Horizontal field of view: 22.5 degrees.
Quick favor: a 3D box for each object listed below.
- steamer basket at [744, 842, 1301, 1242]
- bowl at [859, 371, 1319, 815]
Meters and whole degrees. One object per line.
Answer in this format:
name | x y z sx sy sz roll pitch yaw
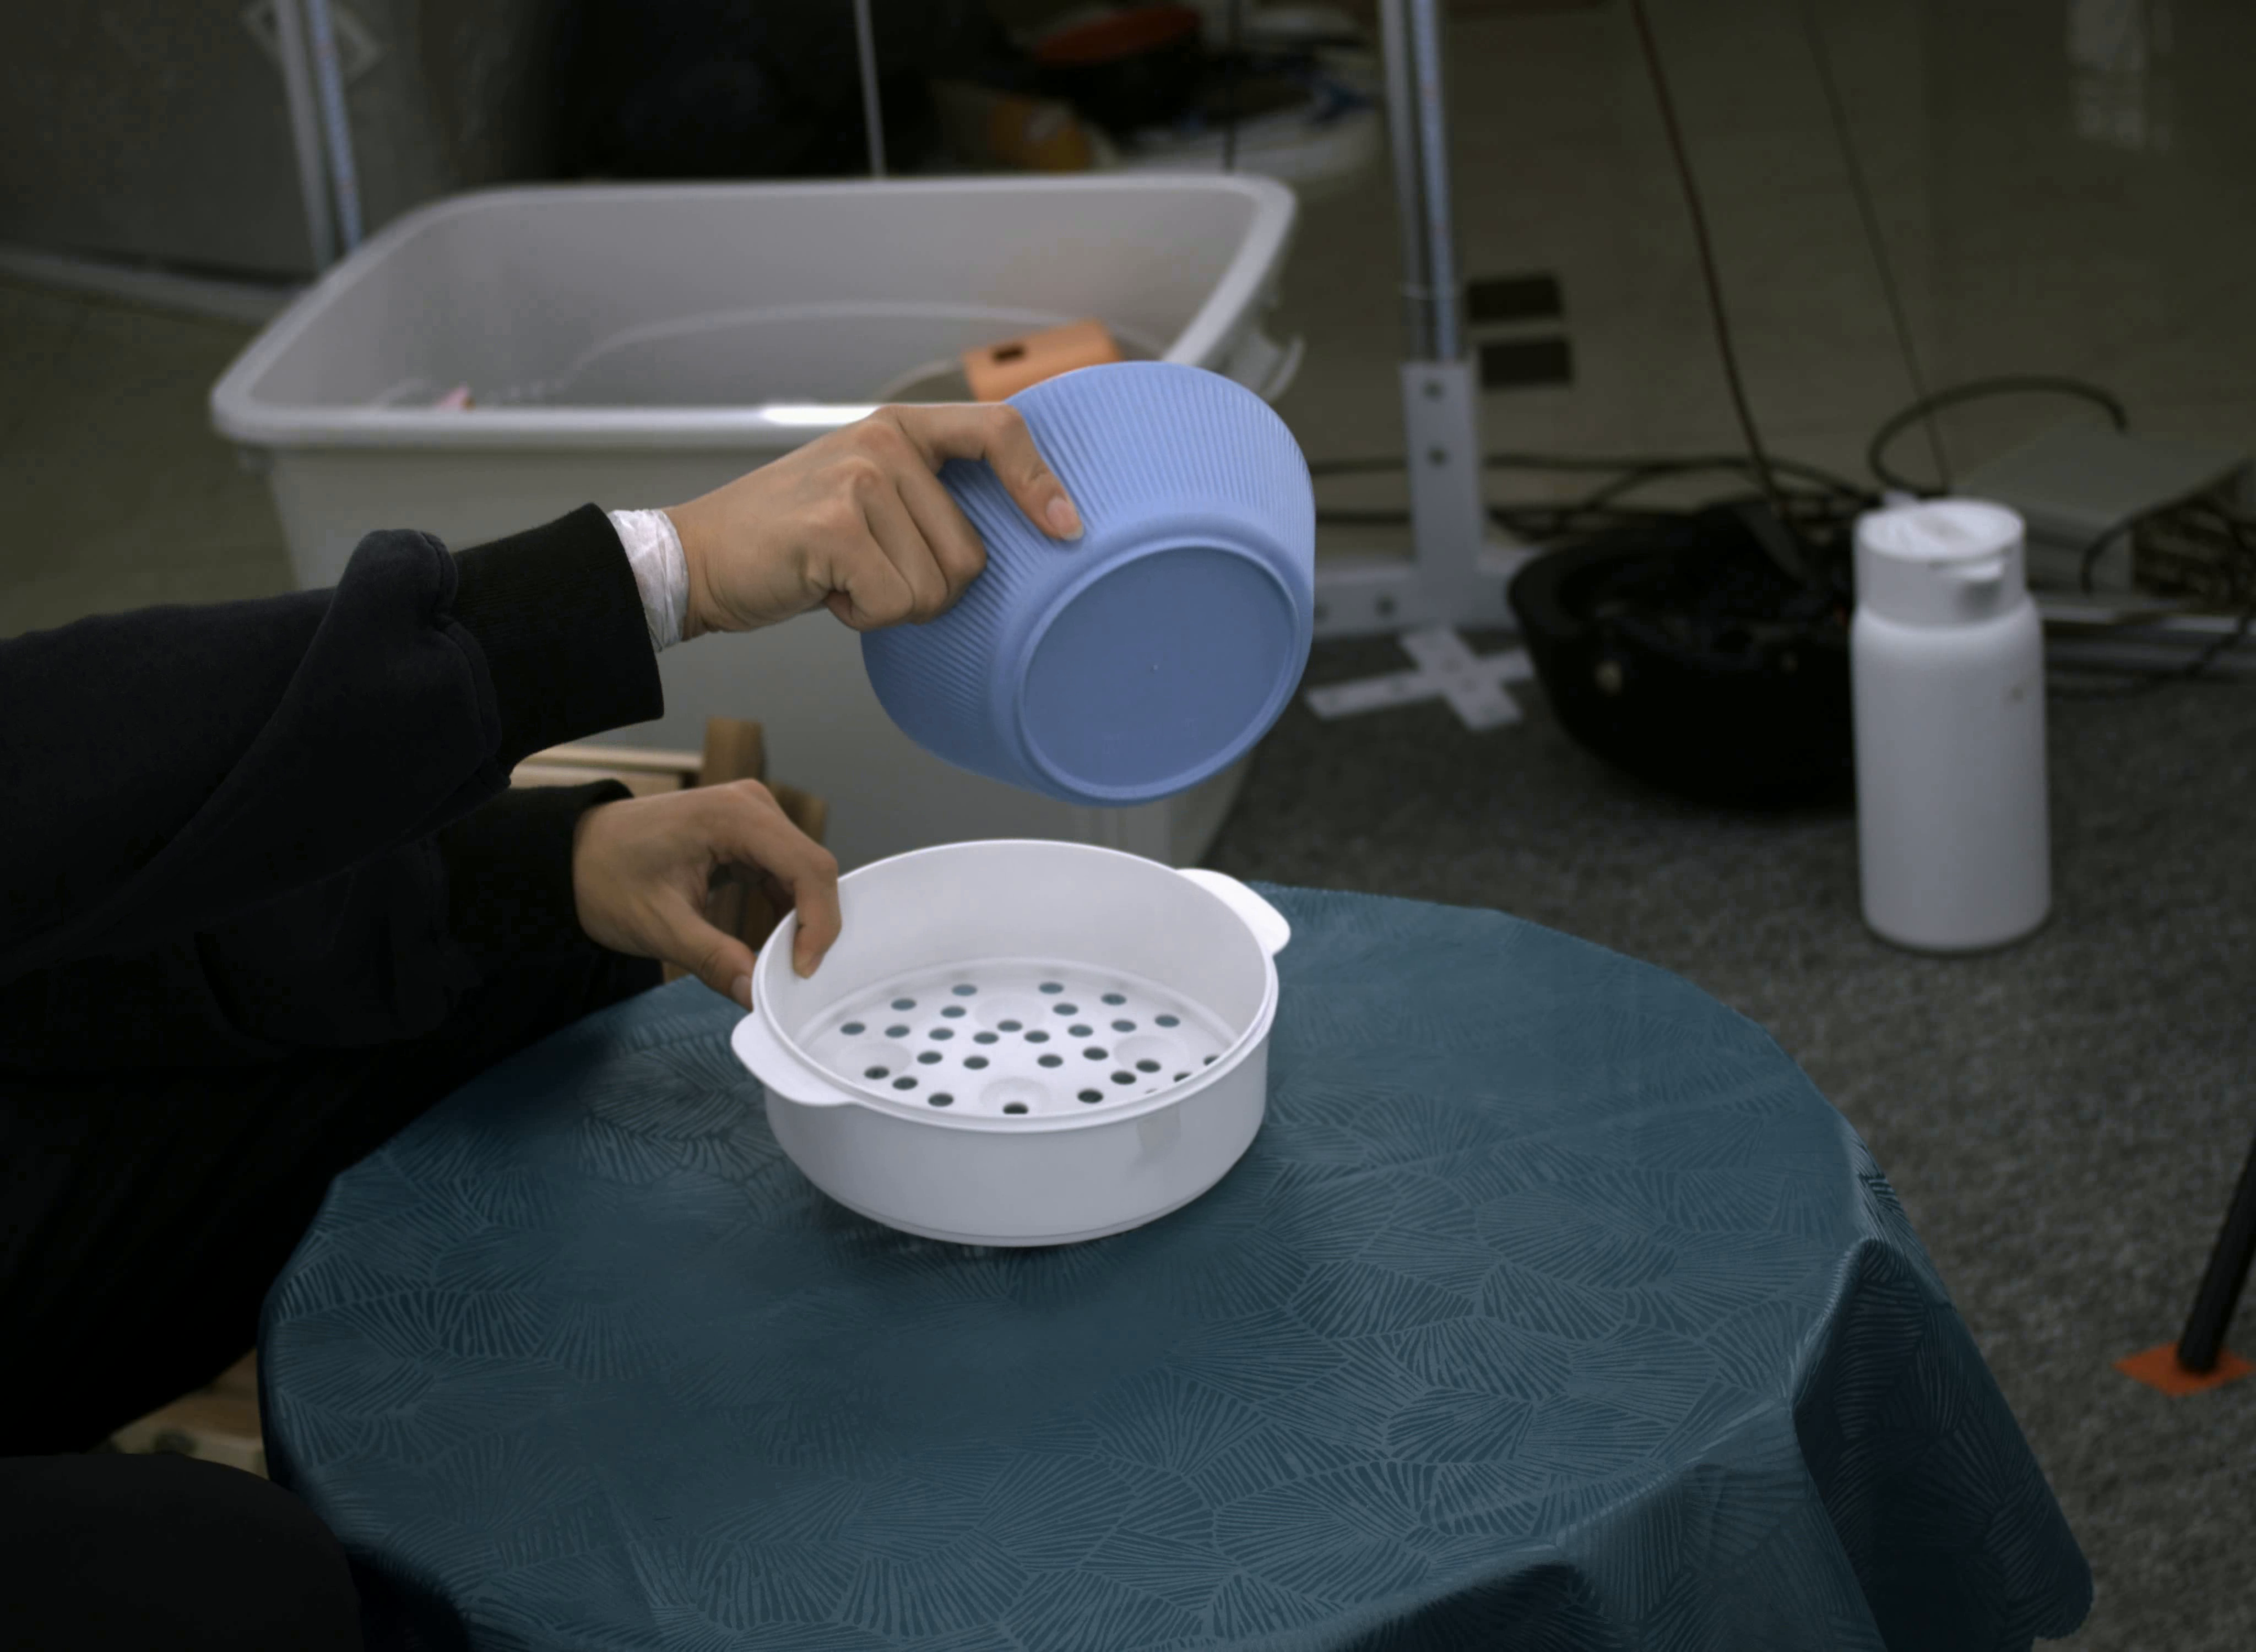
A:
steamer basket | -0.039 0.083 2.178 0.229 0.070 0.199 -17 36 -30
bowl | -0.003 -0.070 2.006 0.175 0.179 0.069 -13 40 -16
